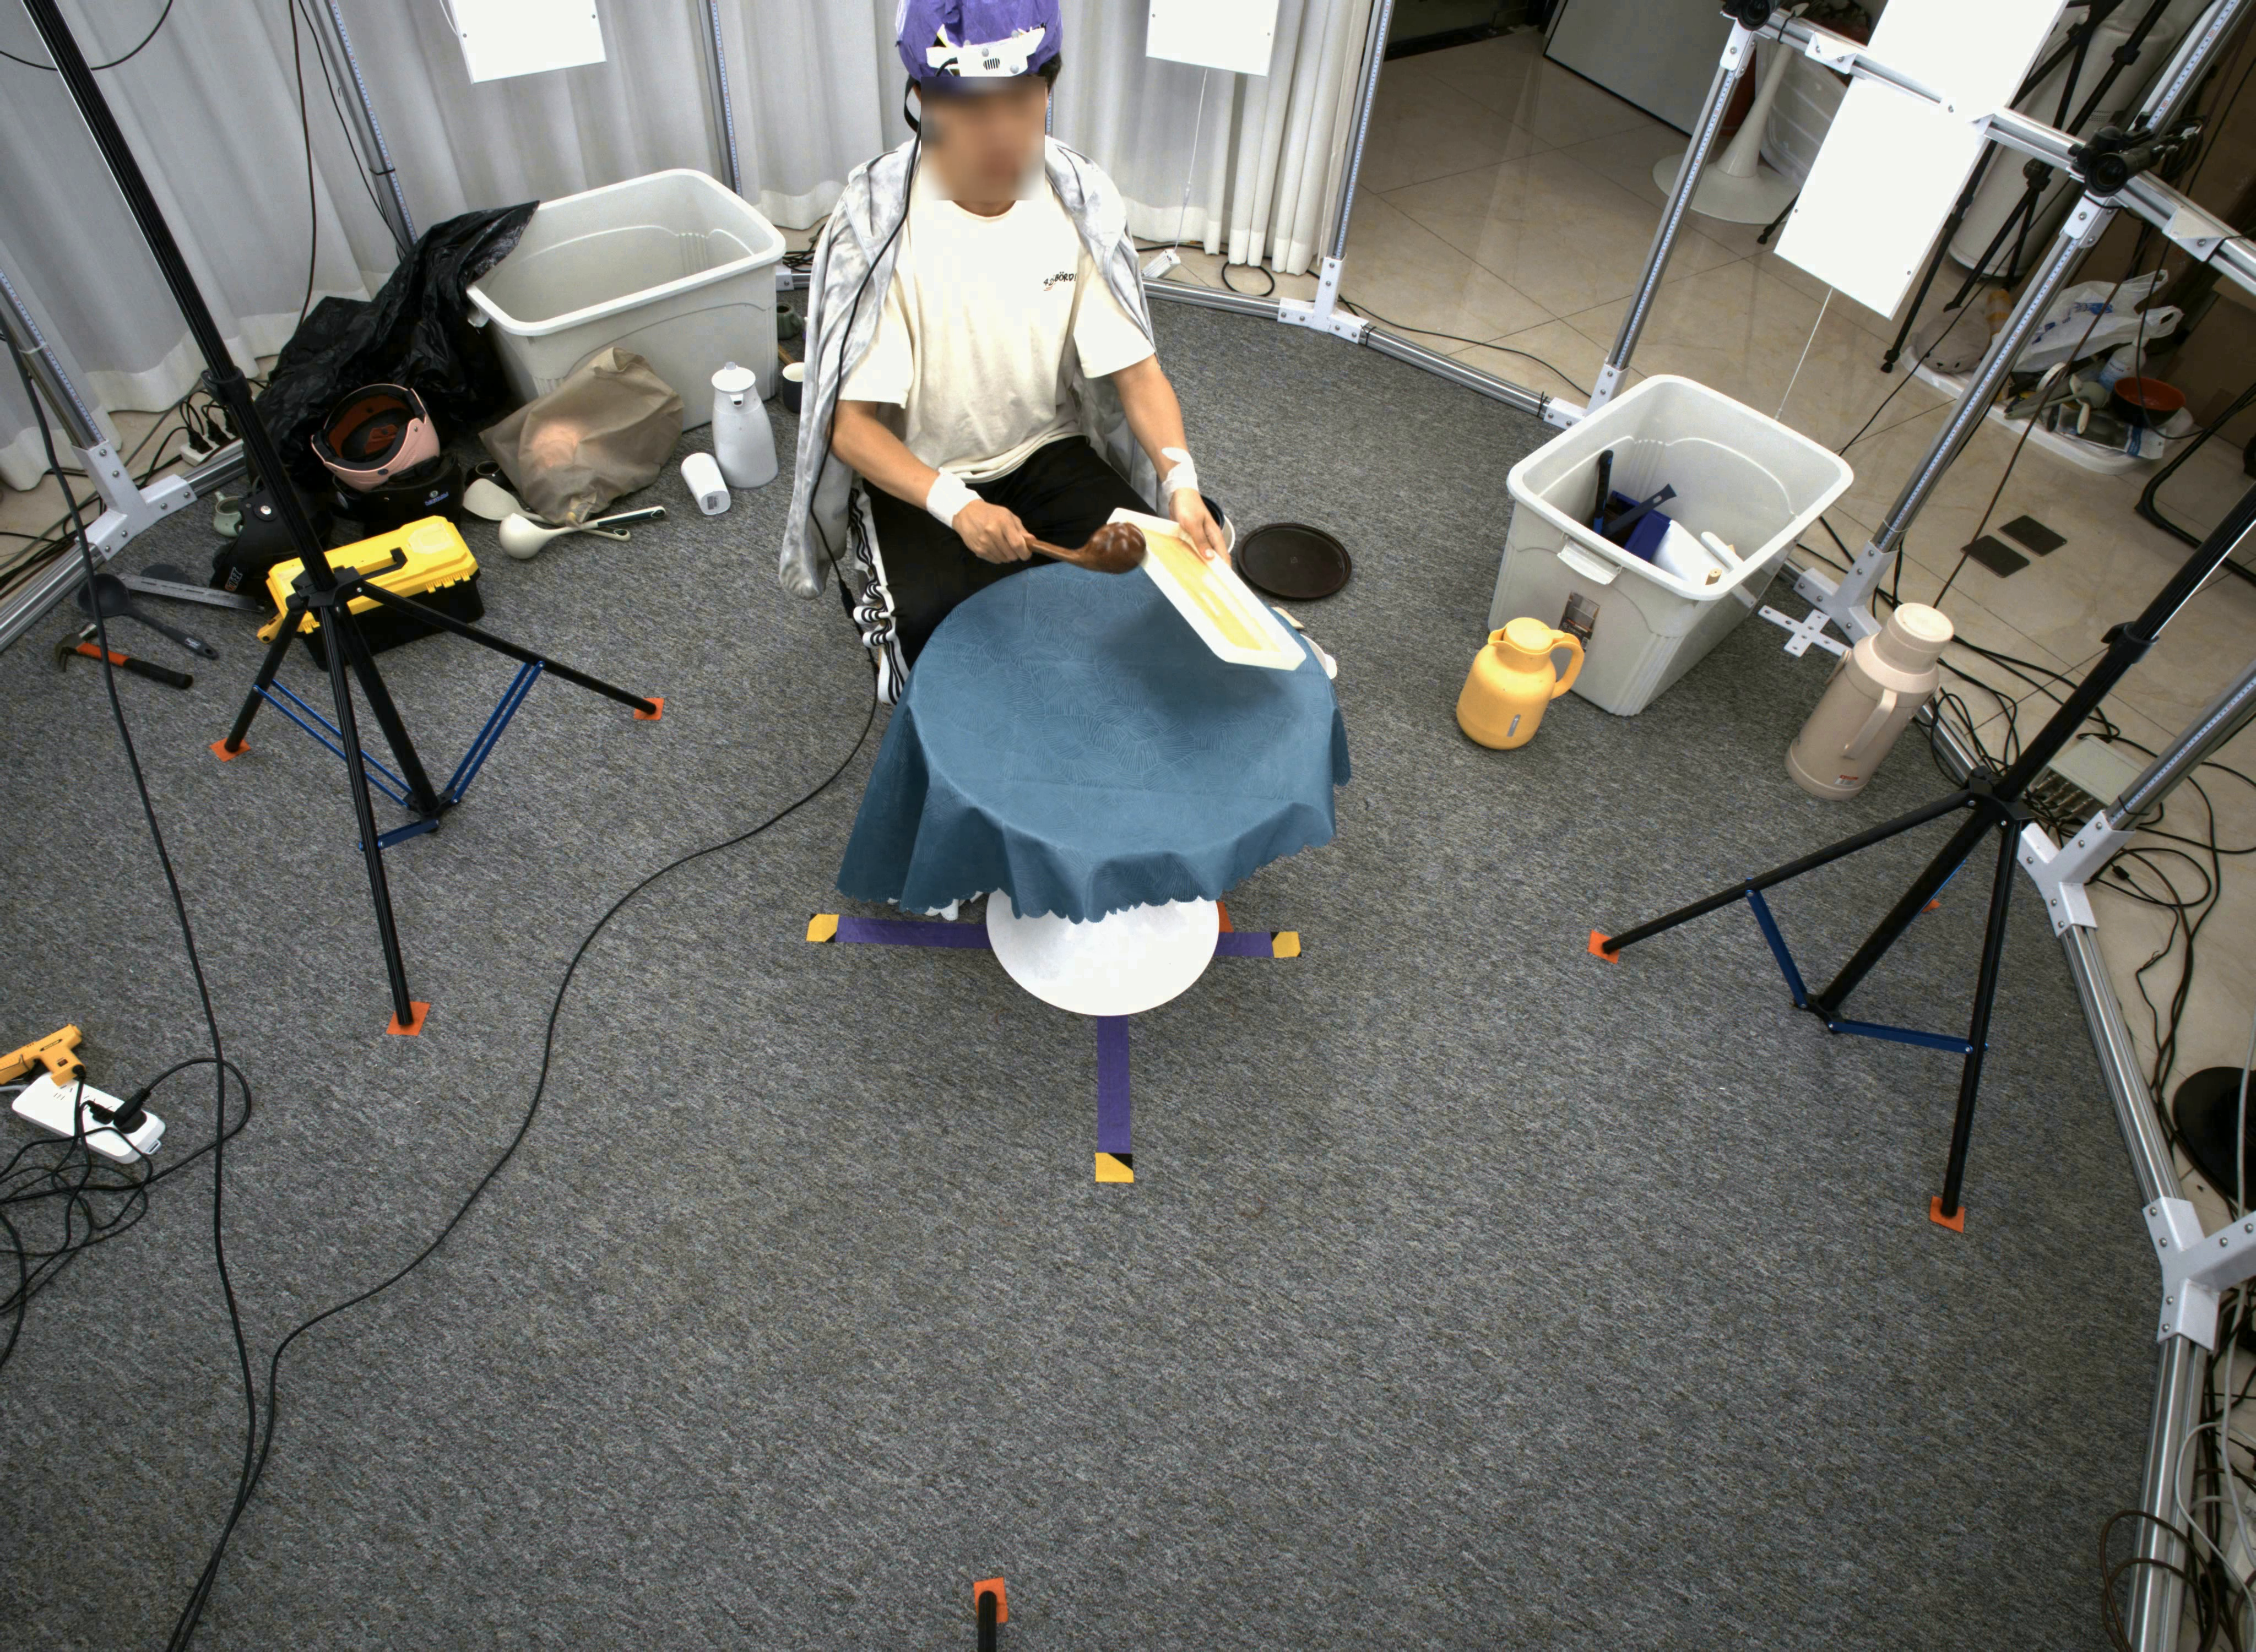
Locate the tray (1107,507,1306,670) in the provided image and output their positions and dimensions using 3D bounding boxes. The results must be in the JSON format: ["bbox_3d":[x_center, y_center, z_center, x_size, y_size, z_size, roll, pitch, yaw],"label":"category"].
[{"bbox_3d":[0.110,-0.334,1.811,0.190,0.027,0.306,0,45,-48],"label":"tray"}]

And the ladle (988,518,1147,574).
[{"bbox_3d":[-0.087,-0.404,1.811,0.277,0.080,0.077,21,61,43],"label":"ladle"}]
